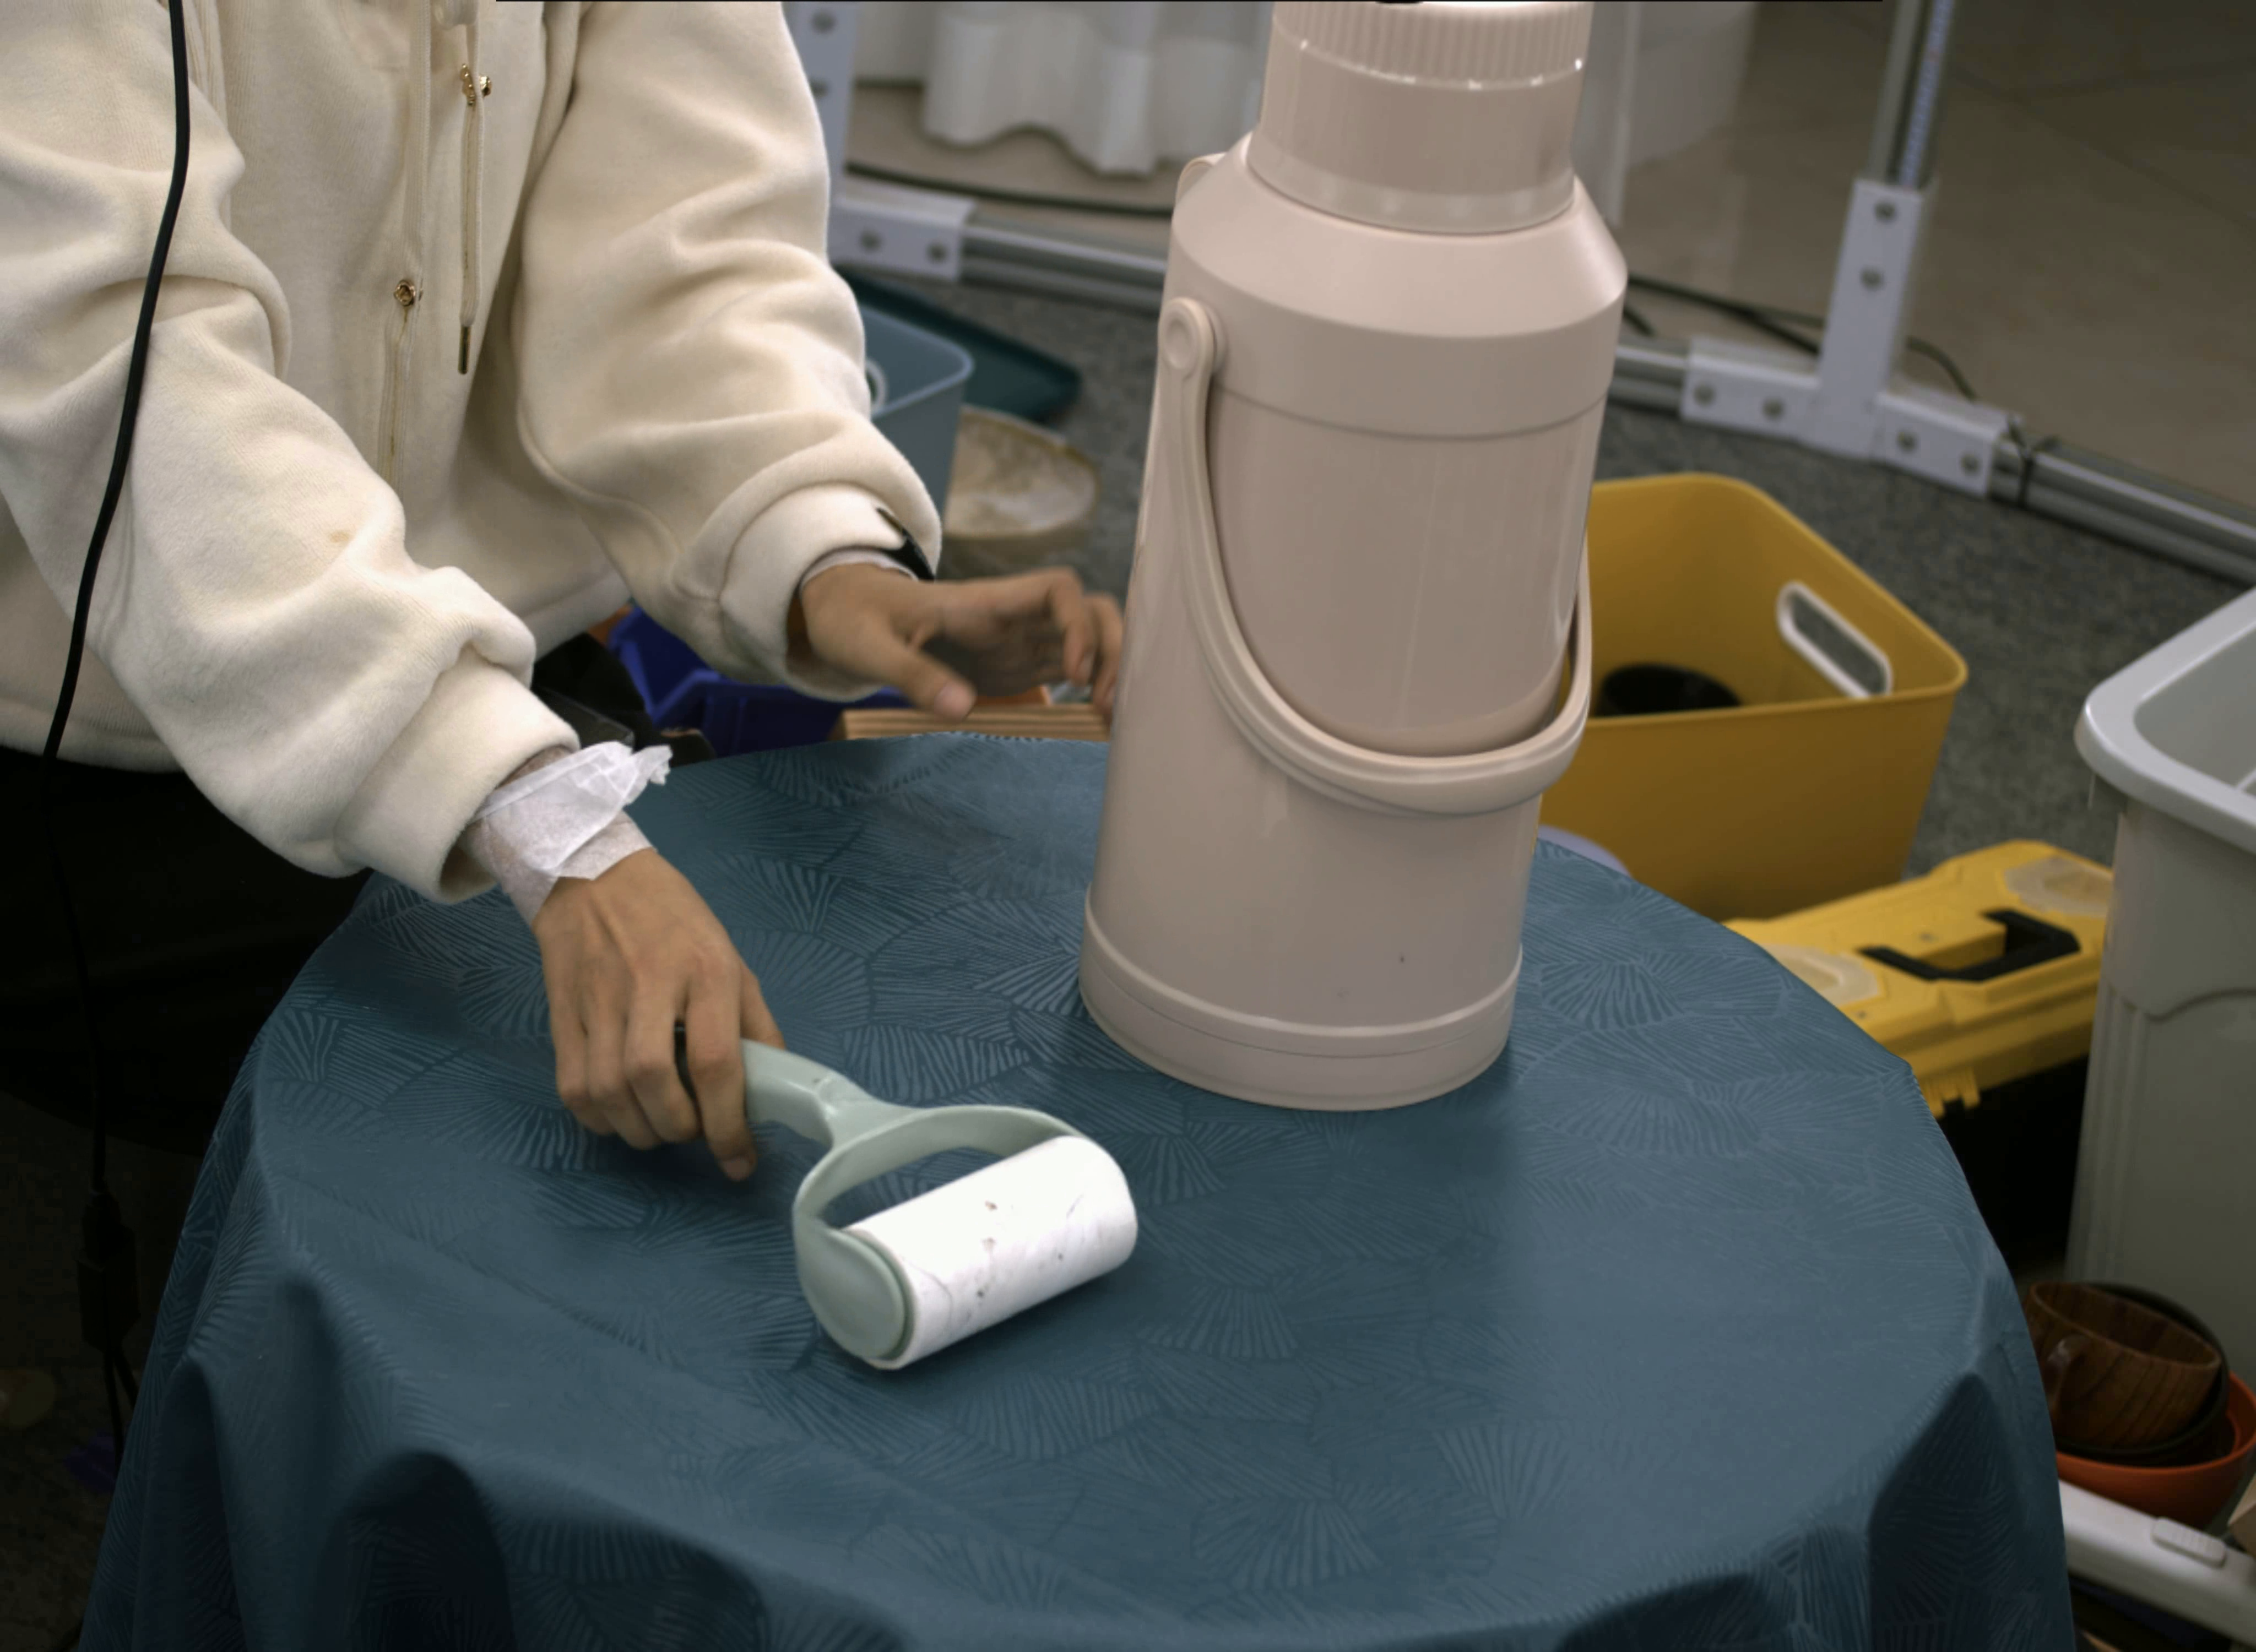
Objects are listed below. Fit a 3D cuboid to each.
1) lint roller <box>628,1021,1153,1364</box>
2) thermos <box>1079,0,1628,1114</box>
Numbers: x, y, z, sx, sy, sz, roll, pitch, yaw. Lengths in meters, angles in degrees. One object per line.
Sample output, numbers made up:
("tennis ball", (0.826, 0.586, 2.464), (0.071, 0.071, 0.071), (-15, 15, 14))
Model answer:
("lint roller", (-0.093, 0.102, 1.762), (0.116, 0.048, 0.199), (-22, 42, -40))
("thermos", (0.075, -0.117, 1.855), (0.174, 0.405, 0.209), (-11, 31, -31))
